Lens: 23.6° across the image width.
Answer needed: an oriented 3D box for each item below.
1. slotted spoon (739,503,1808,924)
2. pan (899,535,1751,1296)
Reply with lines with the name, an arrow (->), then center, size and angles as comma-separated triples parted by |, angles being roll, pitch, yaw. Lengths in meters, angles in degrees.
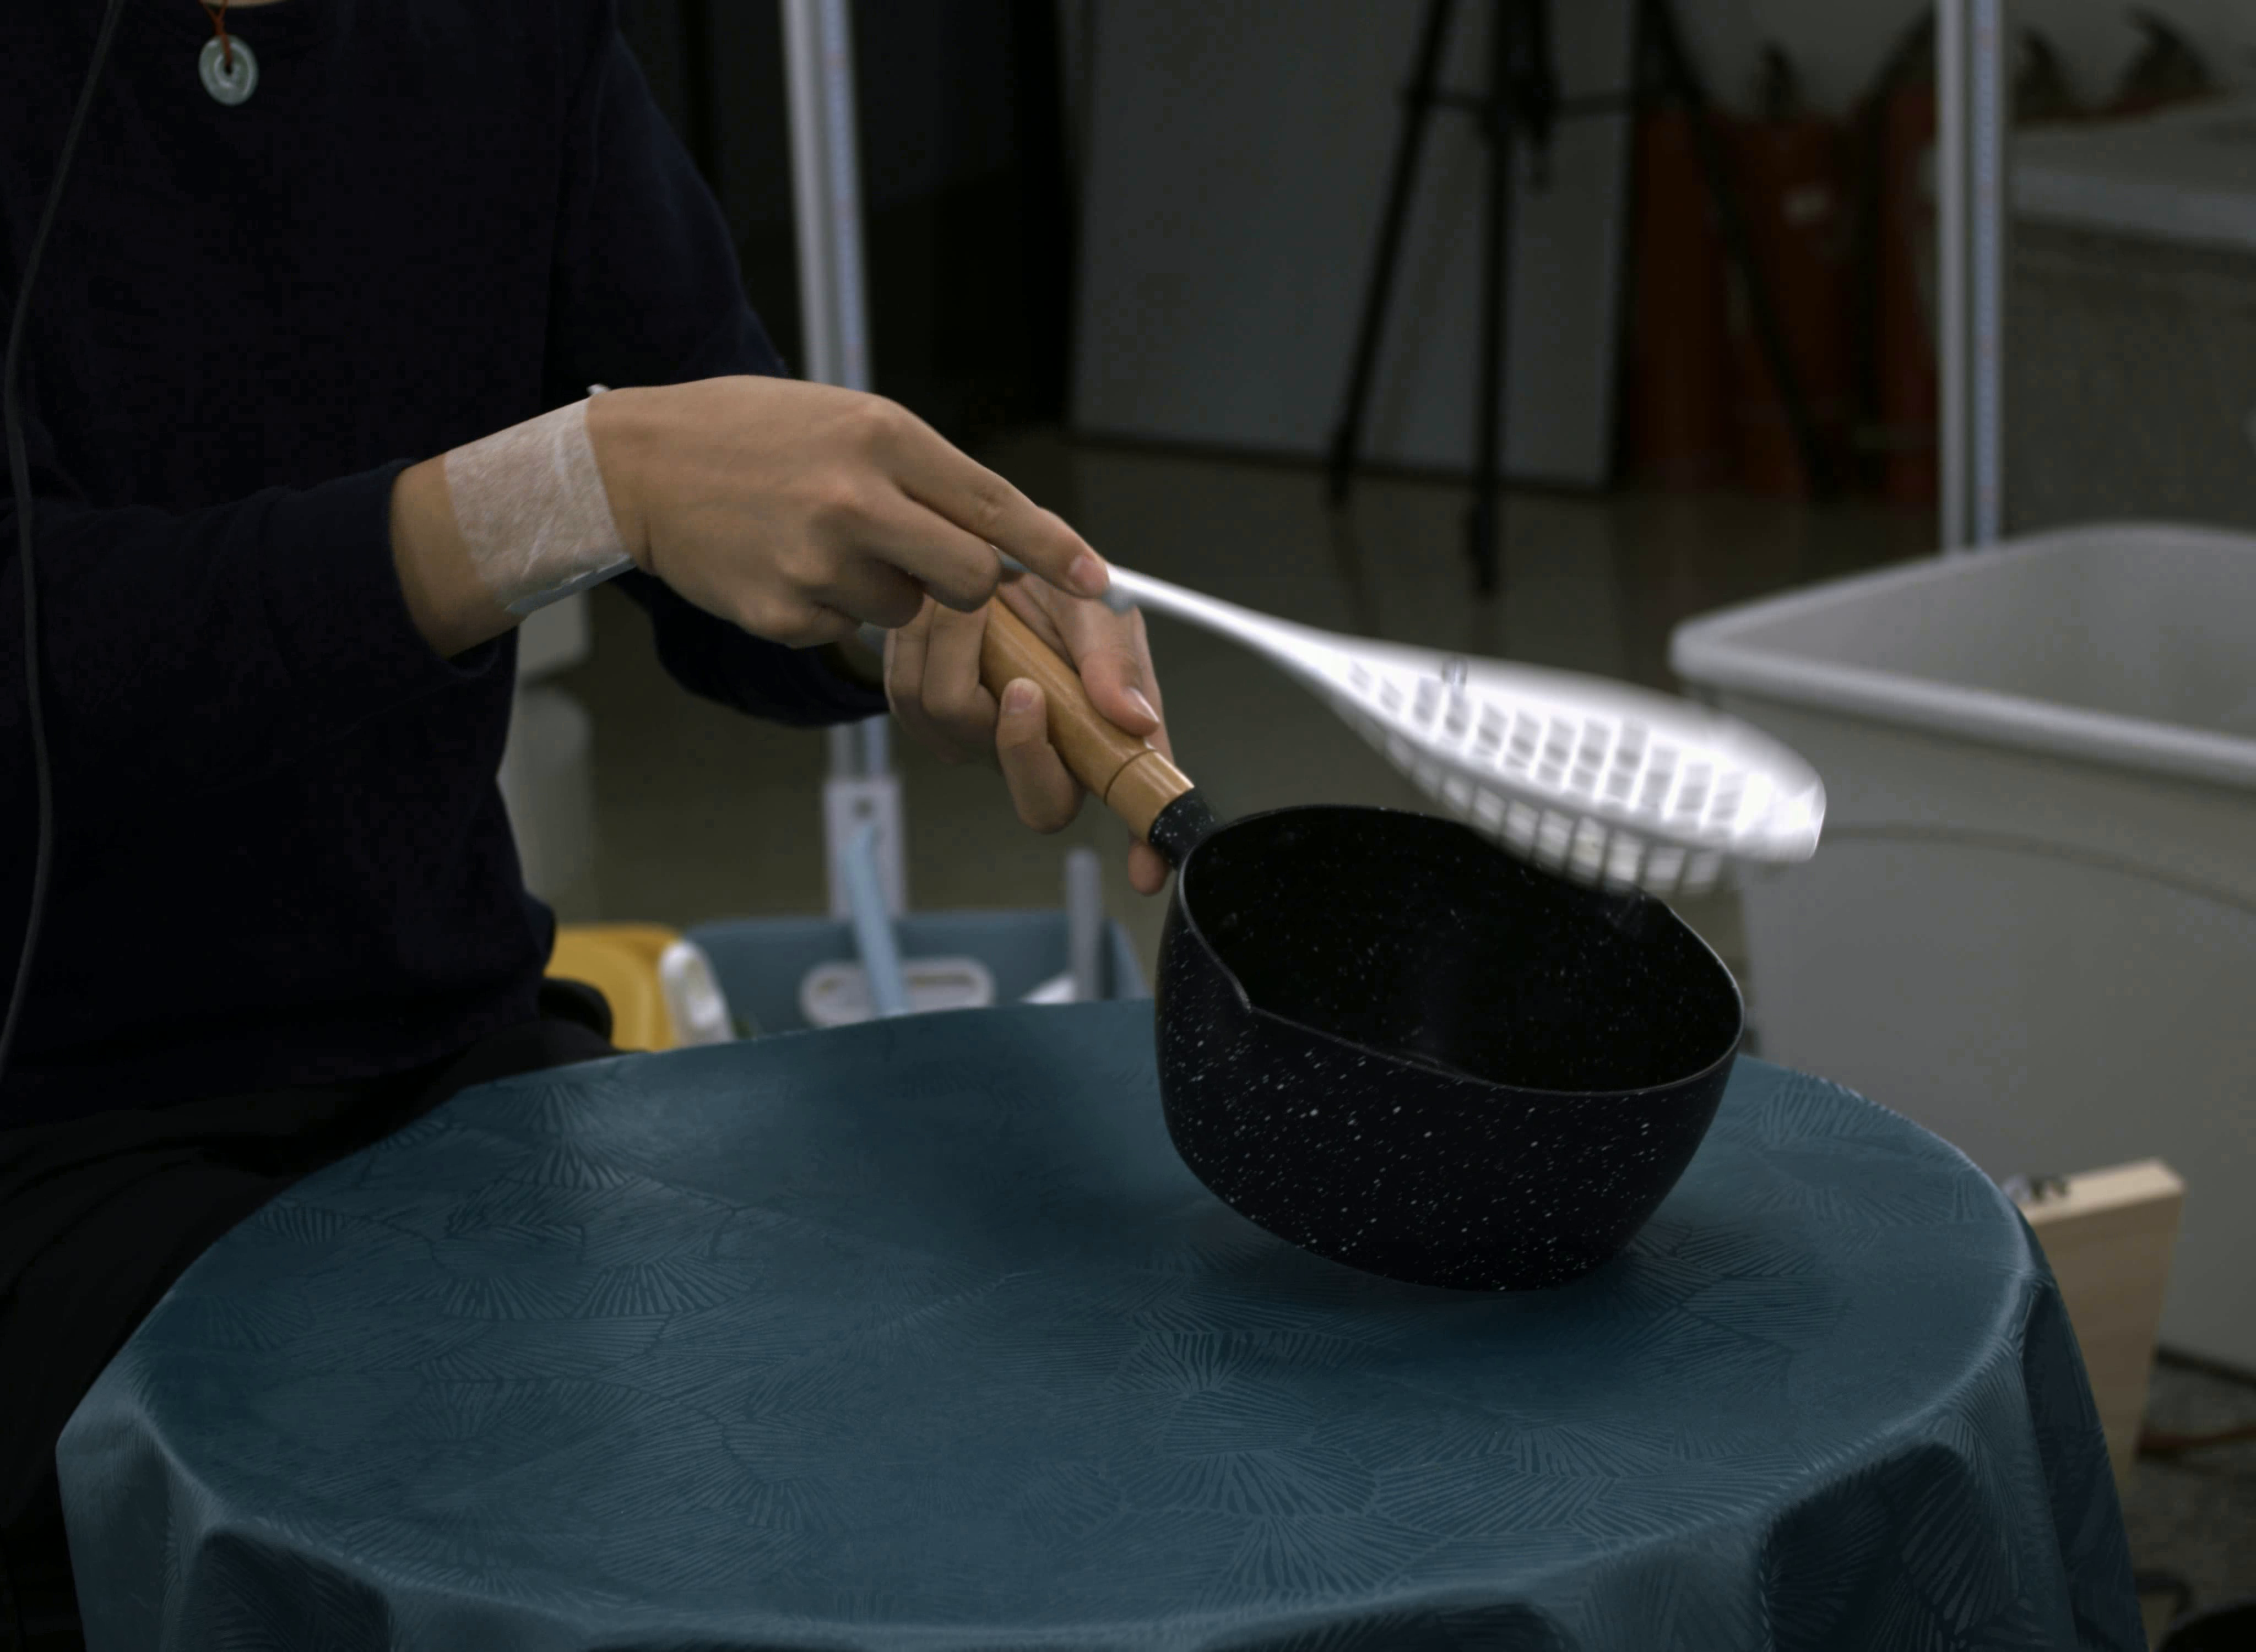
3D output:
slotted spoon -> 0.044, -0.044, 1.661 | 0.346, 0.051, 0.136 | 27, 13, 5
pan -> 0.040, 0.026, 1.719 | 0.346, 0.109, 0.203 | 31, 30, 32
